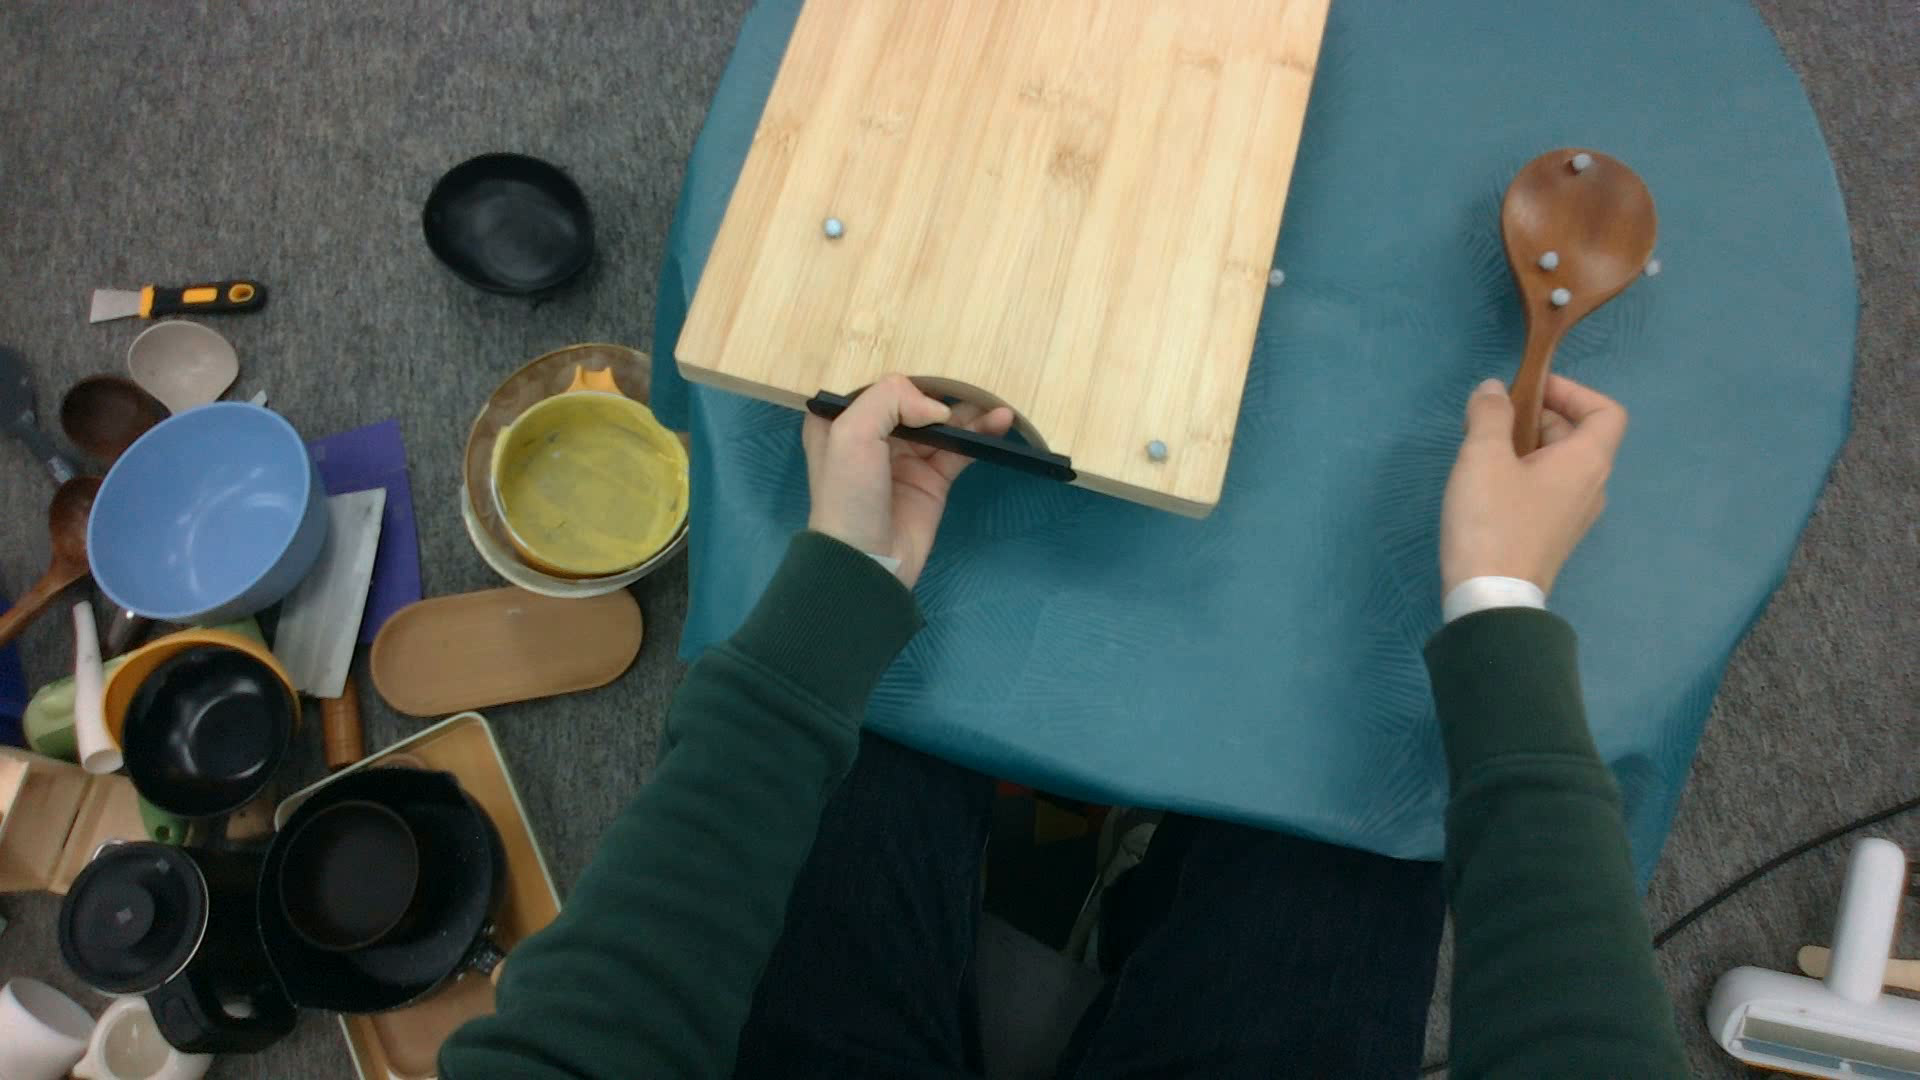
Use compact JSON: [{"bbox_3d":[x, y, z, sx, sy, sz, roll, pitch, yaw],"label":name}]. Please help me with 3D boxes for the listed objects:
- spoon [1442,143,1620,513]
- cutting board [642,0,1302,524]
[{"bbox_3d":[0.261,-0.104,0.649,0.075,0.017,0.217,21,65,6],"label":"spoon"},{"bbox_3d":[0.024,-0.194,0.650,0.251,0.023,0.350,14,69,0],"label":"cutting board"}]
